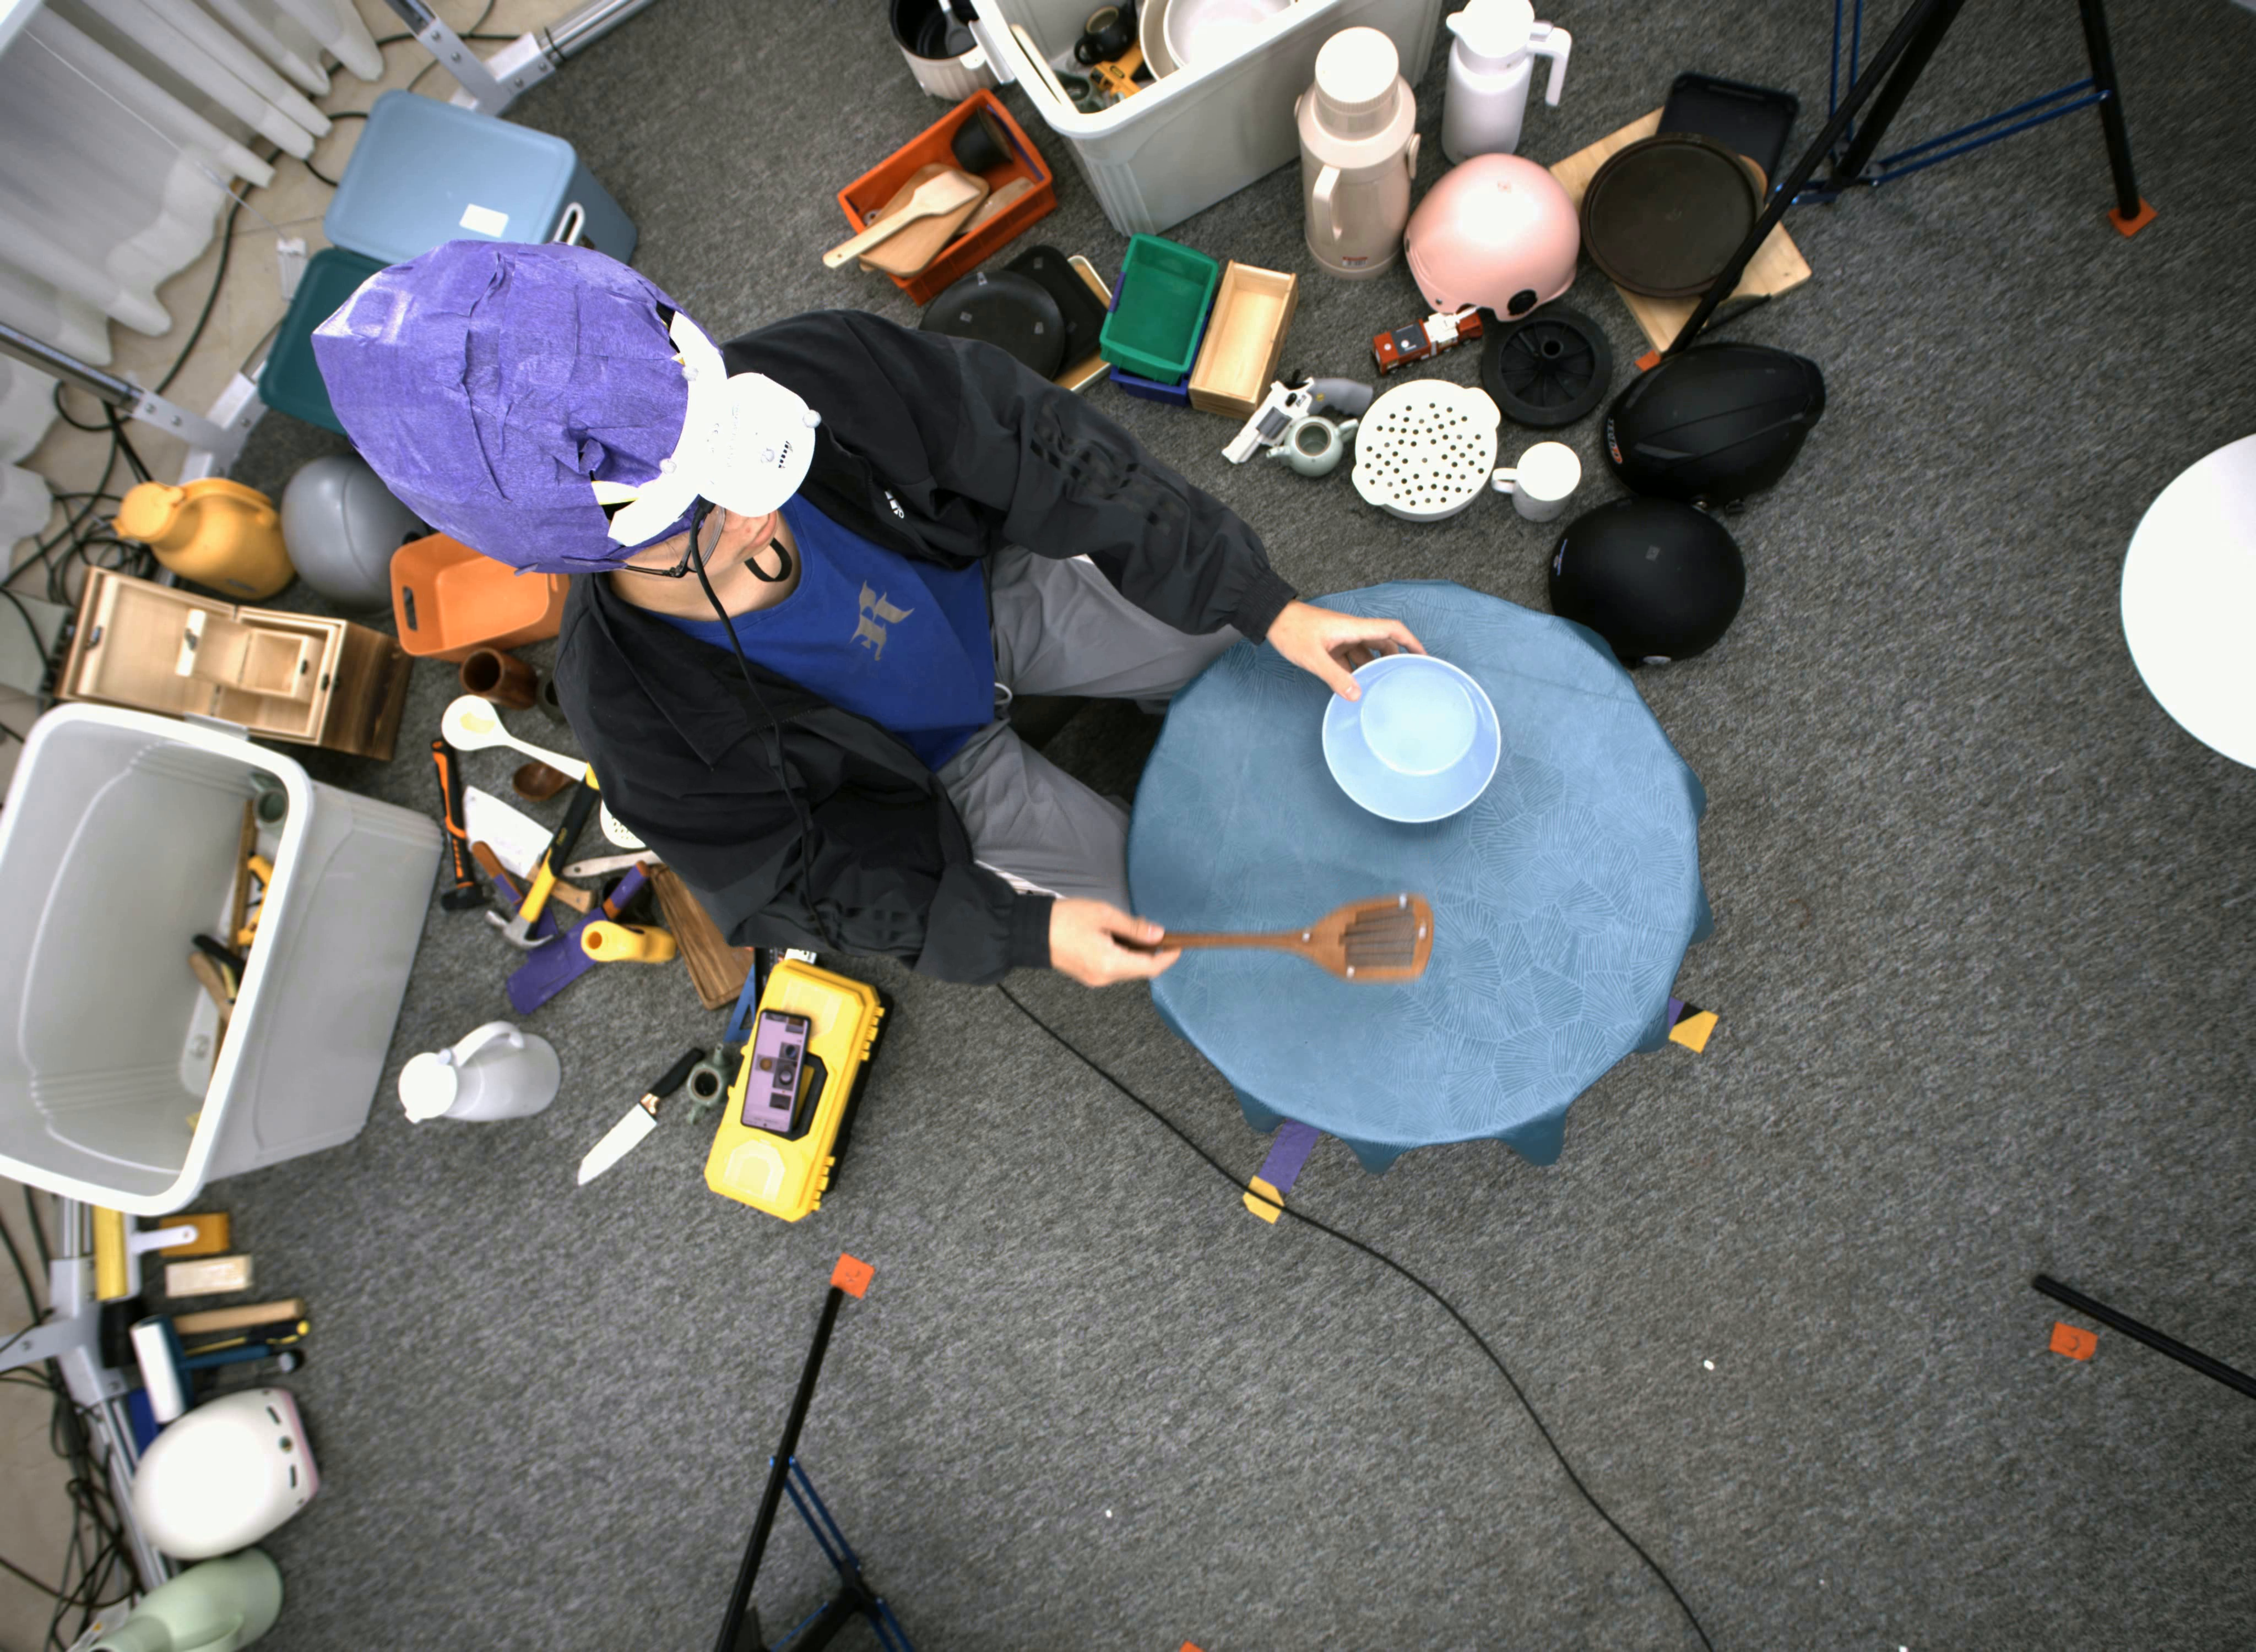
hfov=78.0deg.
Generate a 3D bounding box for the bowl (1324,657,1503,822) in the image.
[{"bbox_3d":[0.290,-0.097,1.381,0.176,0.068,0.180,9,119,16],"label":"bowl"}]

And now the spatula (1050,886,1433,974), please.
[{"bbox_3d":[0.103,0.104,1.348,0.389,0.024,0.084,-2,68,21],"label":"spatula"}]
